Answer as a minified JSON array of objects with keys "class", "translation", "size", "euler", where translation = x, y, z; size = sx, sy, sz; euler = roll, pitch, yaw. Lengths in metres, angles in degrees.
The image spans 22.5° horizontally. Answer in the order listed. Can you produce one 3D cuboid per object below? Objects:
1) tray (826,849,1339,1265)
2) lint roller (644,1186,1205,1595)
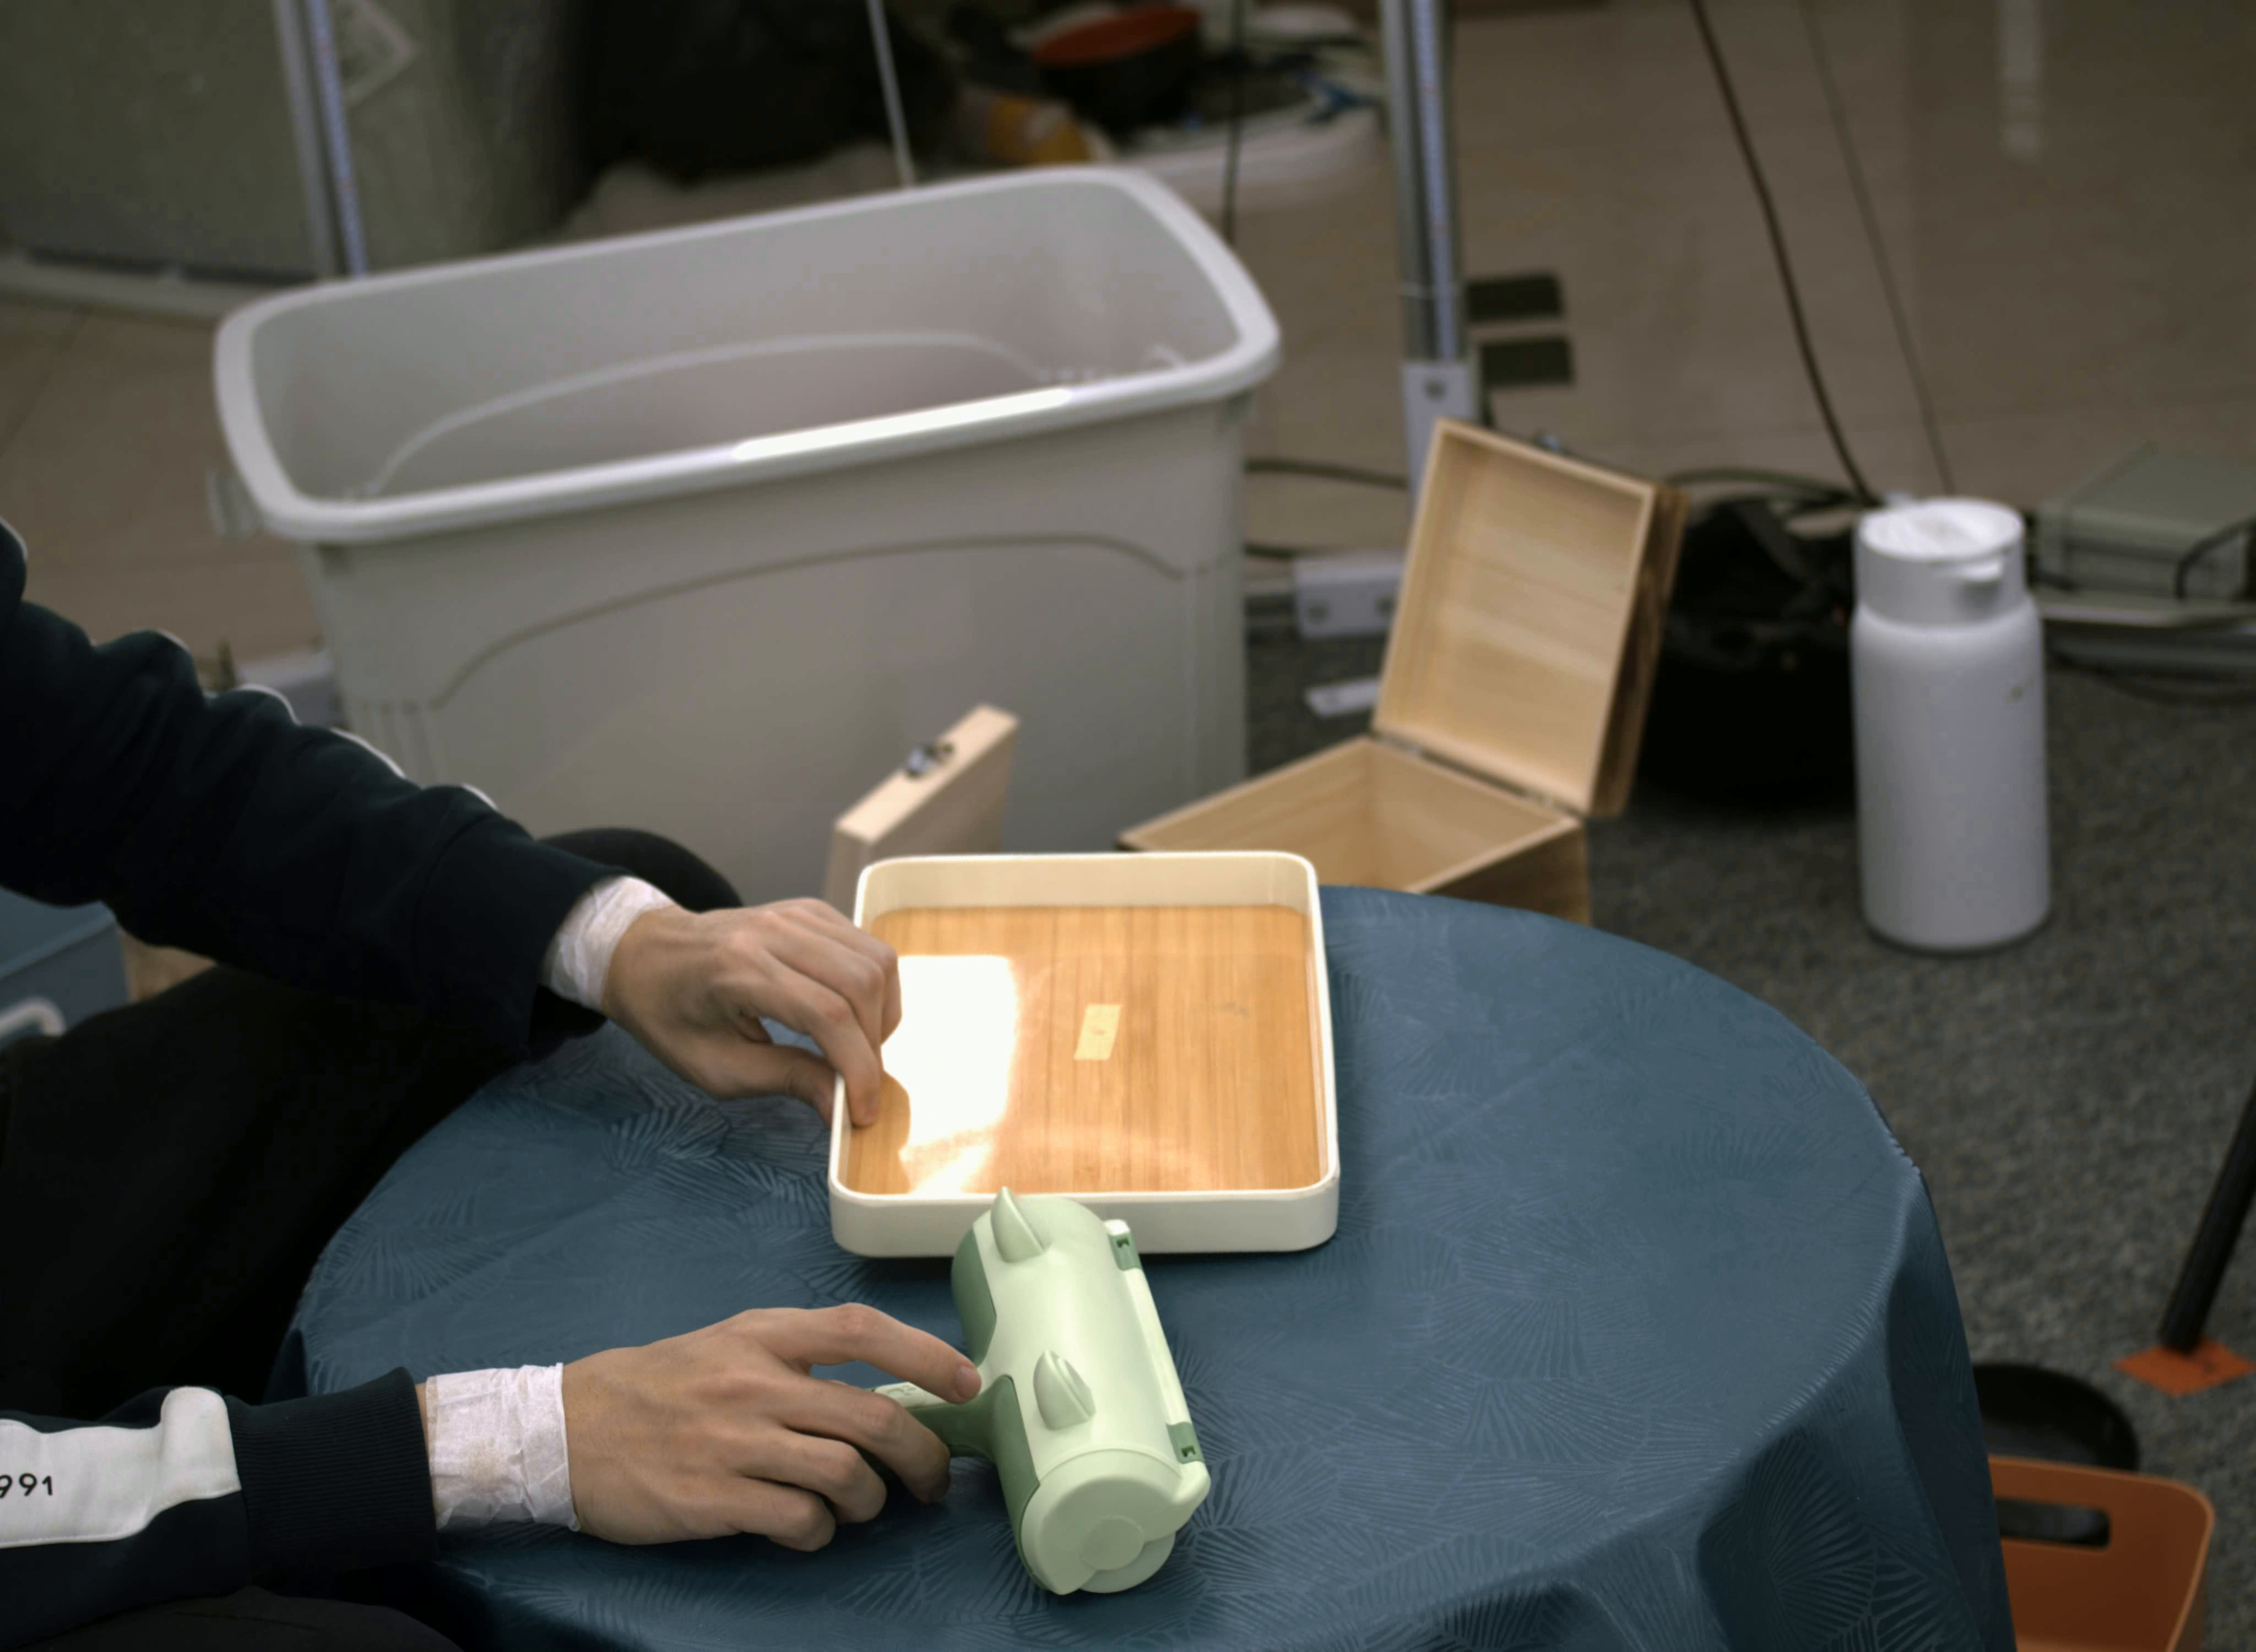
[{"class":"tray","translation":[-0.017,0.086,2.214],"size":[0.191,0.028,0.296],"euler":[-2,25,1]},{"class":"lint roller","translation":[-0.077,0.192,1.954],"size":[0.183,0.083,0.195],"euler":[-5,26,-7]}]
